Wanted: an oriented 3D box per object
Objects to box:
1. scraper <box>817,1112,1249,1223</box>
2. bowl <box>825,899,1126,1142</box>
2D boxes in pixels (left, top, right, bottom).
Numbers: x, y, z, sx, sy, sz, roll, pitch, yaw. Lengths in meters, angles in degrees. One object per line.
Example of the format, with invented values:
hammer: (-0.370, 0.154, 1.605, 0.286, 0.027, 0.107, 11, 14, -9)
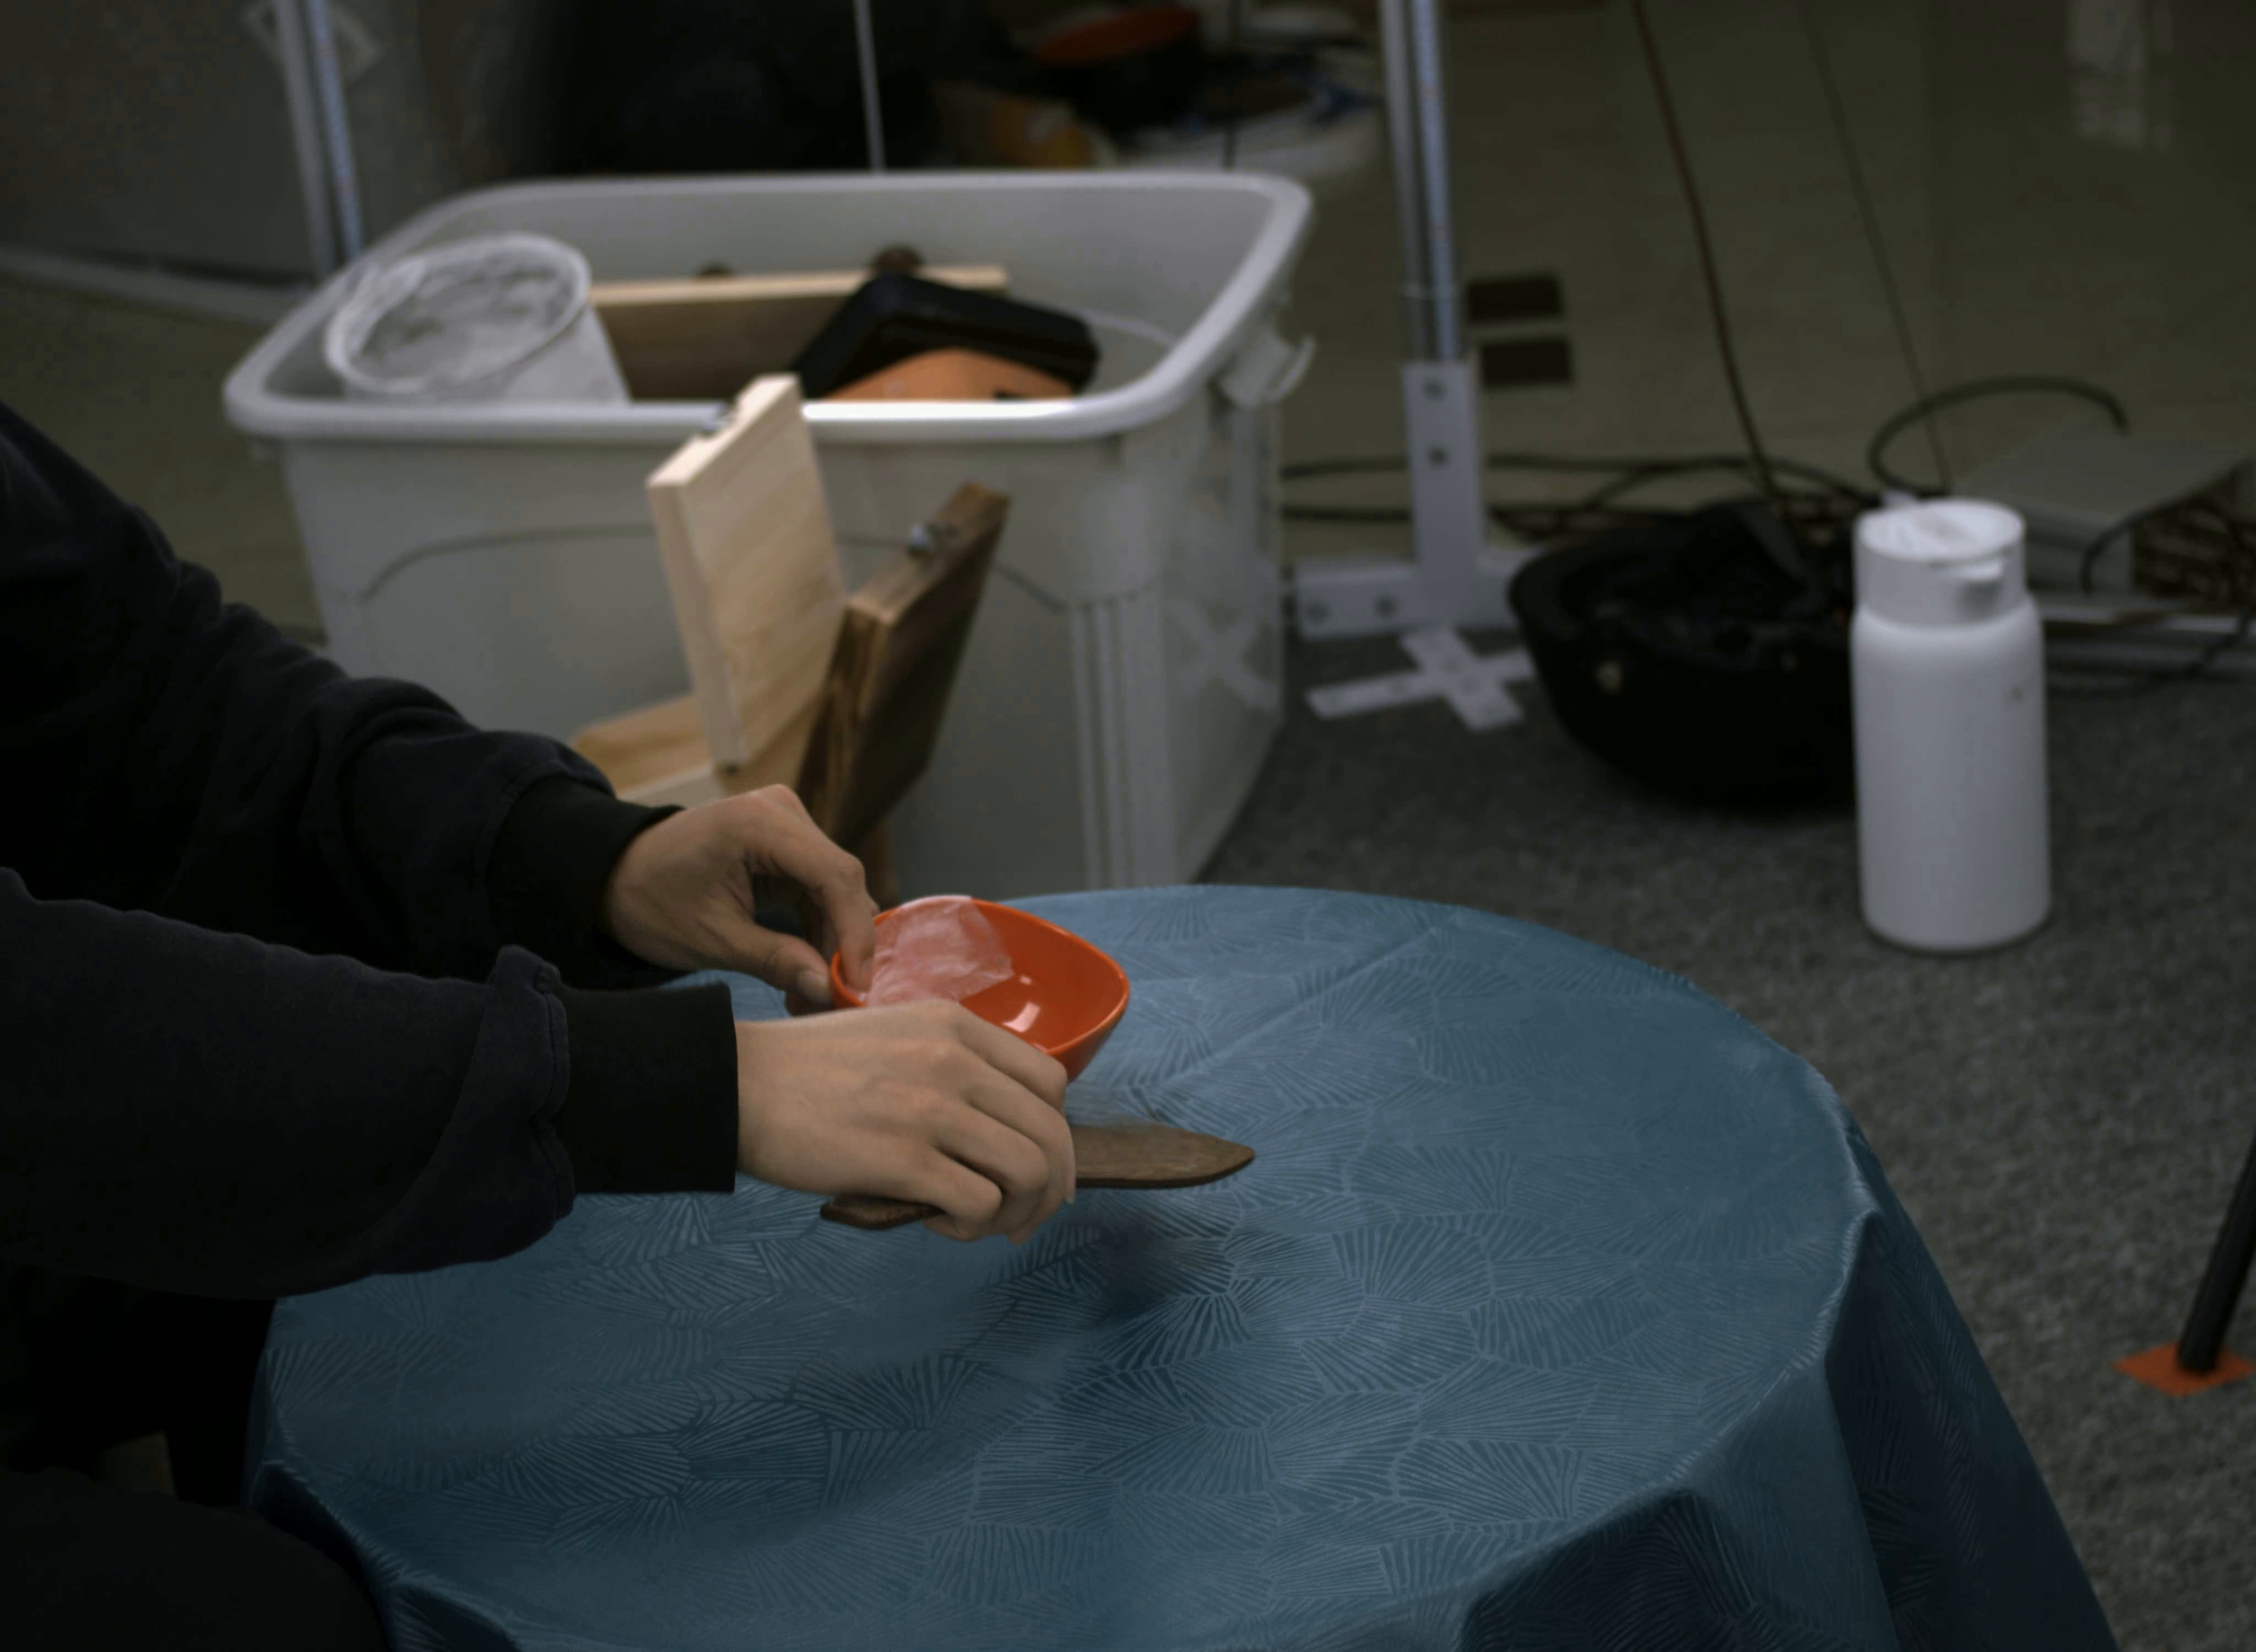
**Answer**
scraper: (-0.040, 0.125, 2.038, 0.075, 0.011, 0.211, 13, 11, 33)
bowl: (-0.062, 0.081, 2.204, 0.119, 0.052, 0.117, 9, 31, -5)
